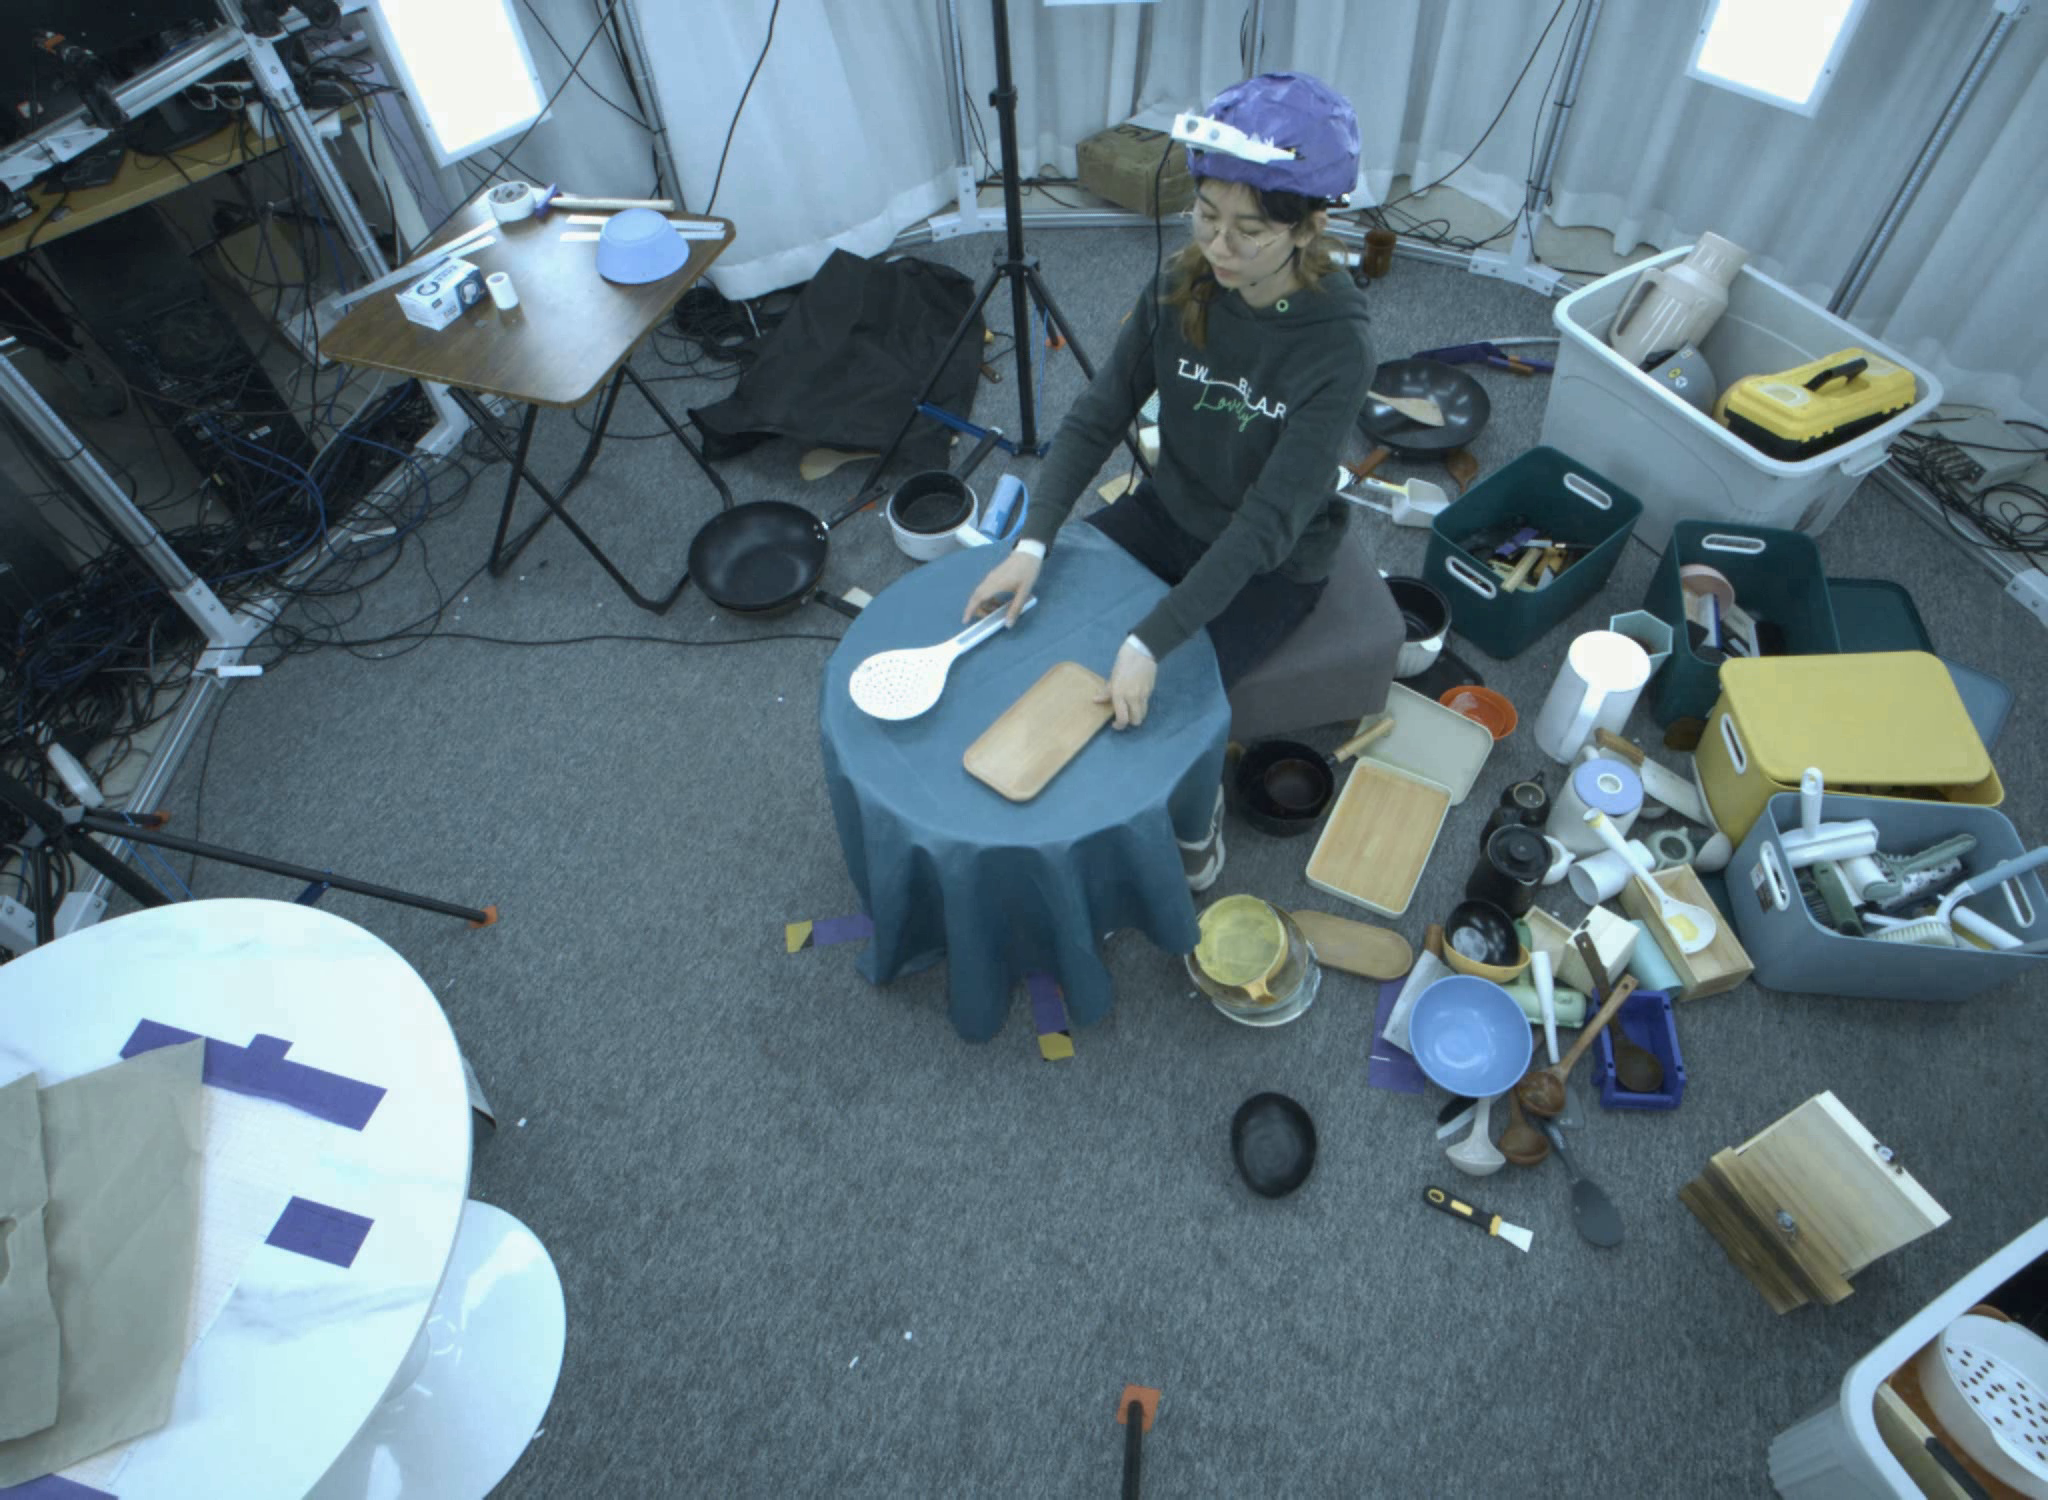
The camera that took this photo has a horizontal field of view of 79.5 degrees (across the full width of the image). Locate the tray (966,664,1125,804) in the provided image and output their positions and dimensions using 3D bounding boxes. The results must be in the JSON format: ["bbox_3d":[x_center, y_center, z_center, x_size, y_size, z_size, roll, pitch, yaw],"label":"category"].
[{"bbox_3d":[0.033,-0.025,1.804,0.128,0.023,0.252,35,62,21],"label":"tray"}]

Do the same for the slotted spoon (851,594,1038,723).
[{"bbox_3d":[-0.111,-0.147,1.877,0.352,0.046,0.134,-39,65,-24],"label":"slotted spoon"}]
